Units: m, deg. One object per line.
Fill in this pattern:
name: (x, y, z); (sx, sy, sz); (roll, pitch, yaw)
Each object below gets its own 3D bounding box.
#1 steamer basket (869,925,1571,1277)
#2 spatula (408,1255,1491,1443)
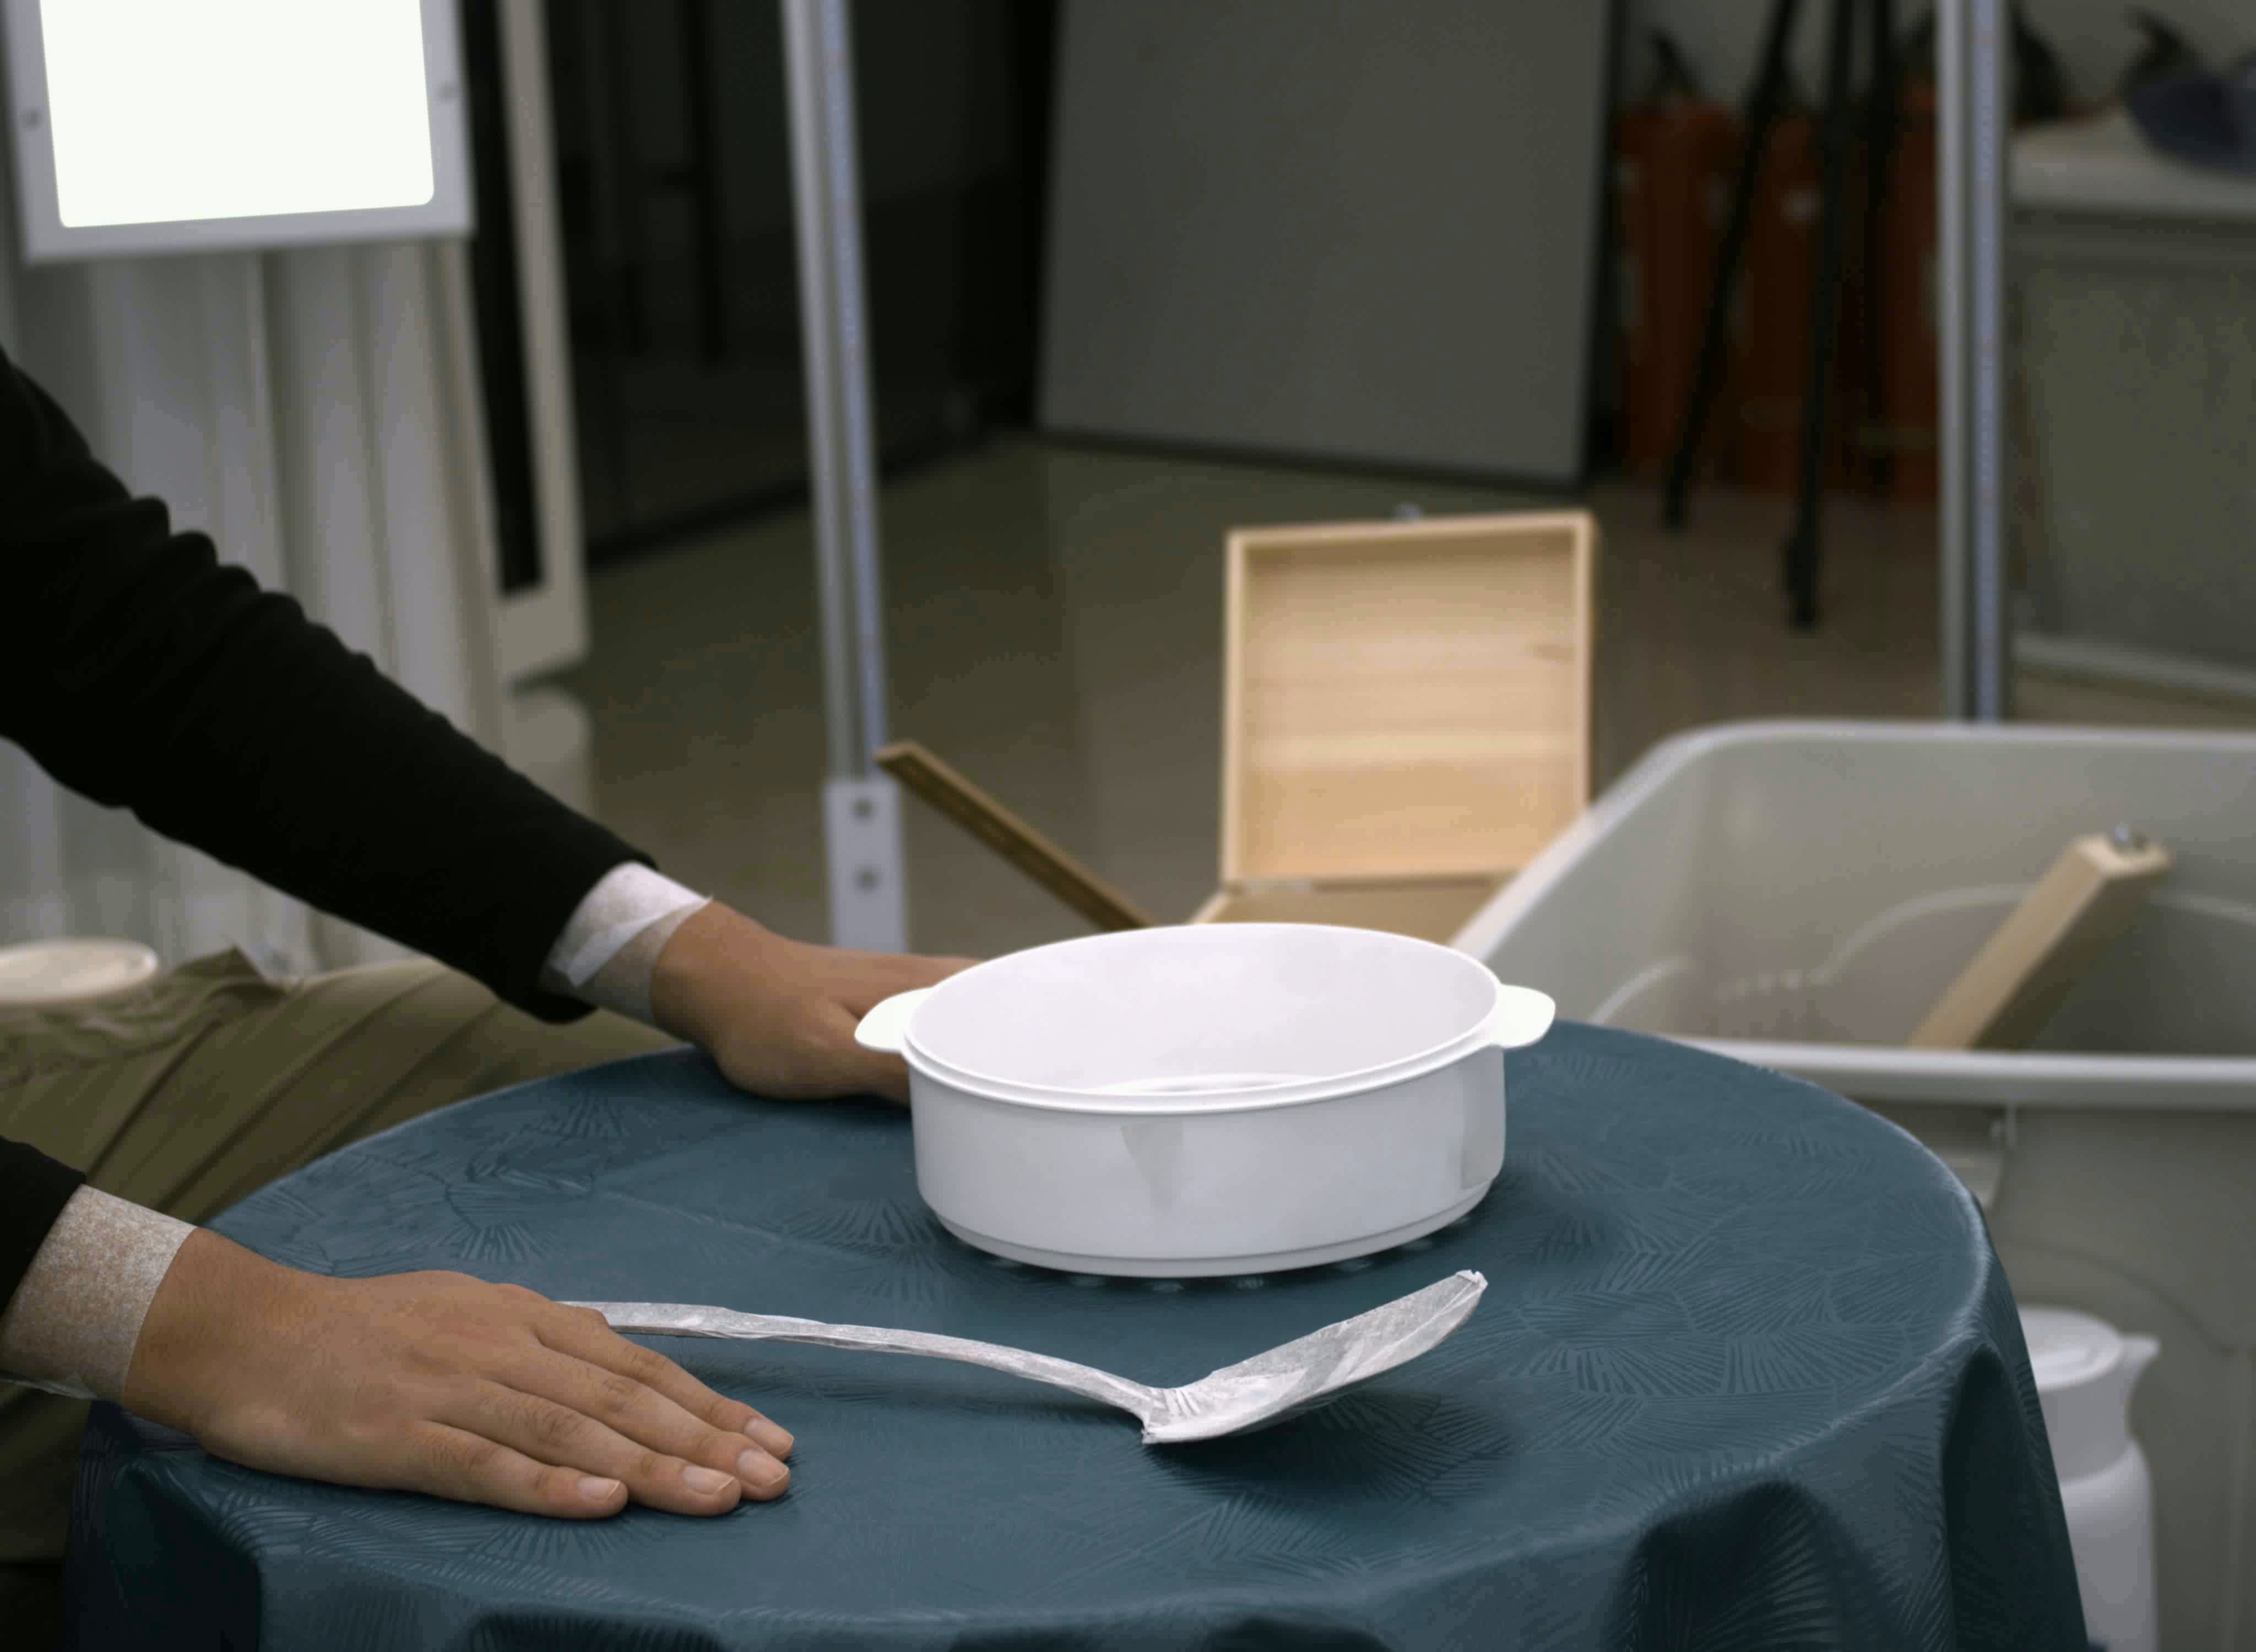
steamer basket: (0.031, 0.088, 1.746); (0.229, 0.070, 0.200); (-2, 13, 14)
spatula: (-0.066, 0.149, 1.597); (0.365, 0.045, 0.097); (2, 17, 26)
